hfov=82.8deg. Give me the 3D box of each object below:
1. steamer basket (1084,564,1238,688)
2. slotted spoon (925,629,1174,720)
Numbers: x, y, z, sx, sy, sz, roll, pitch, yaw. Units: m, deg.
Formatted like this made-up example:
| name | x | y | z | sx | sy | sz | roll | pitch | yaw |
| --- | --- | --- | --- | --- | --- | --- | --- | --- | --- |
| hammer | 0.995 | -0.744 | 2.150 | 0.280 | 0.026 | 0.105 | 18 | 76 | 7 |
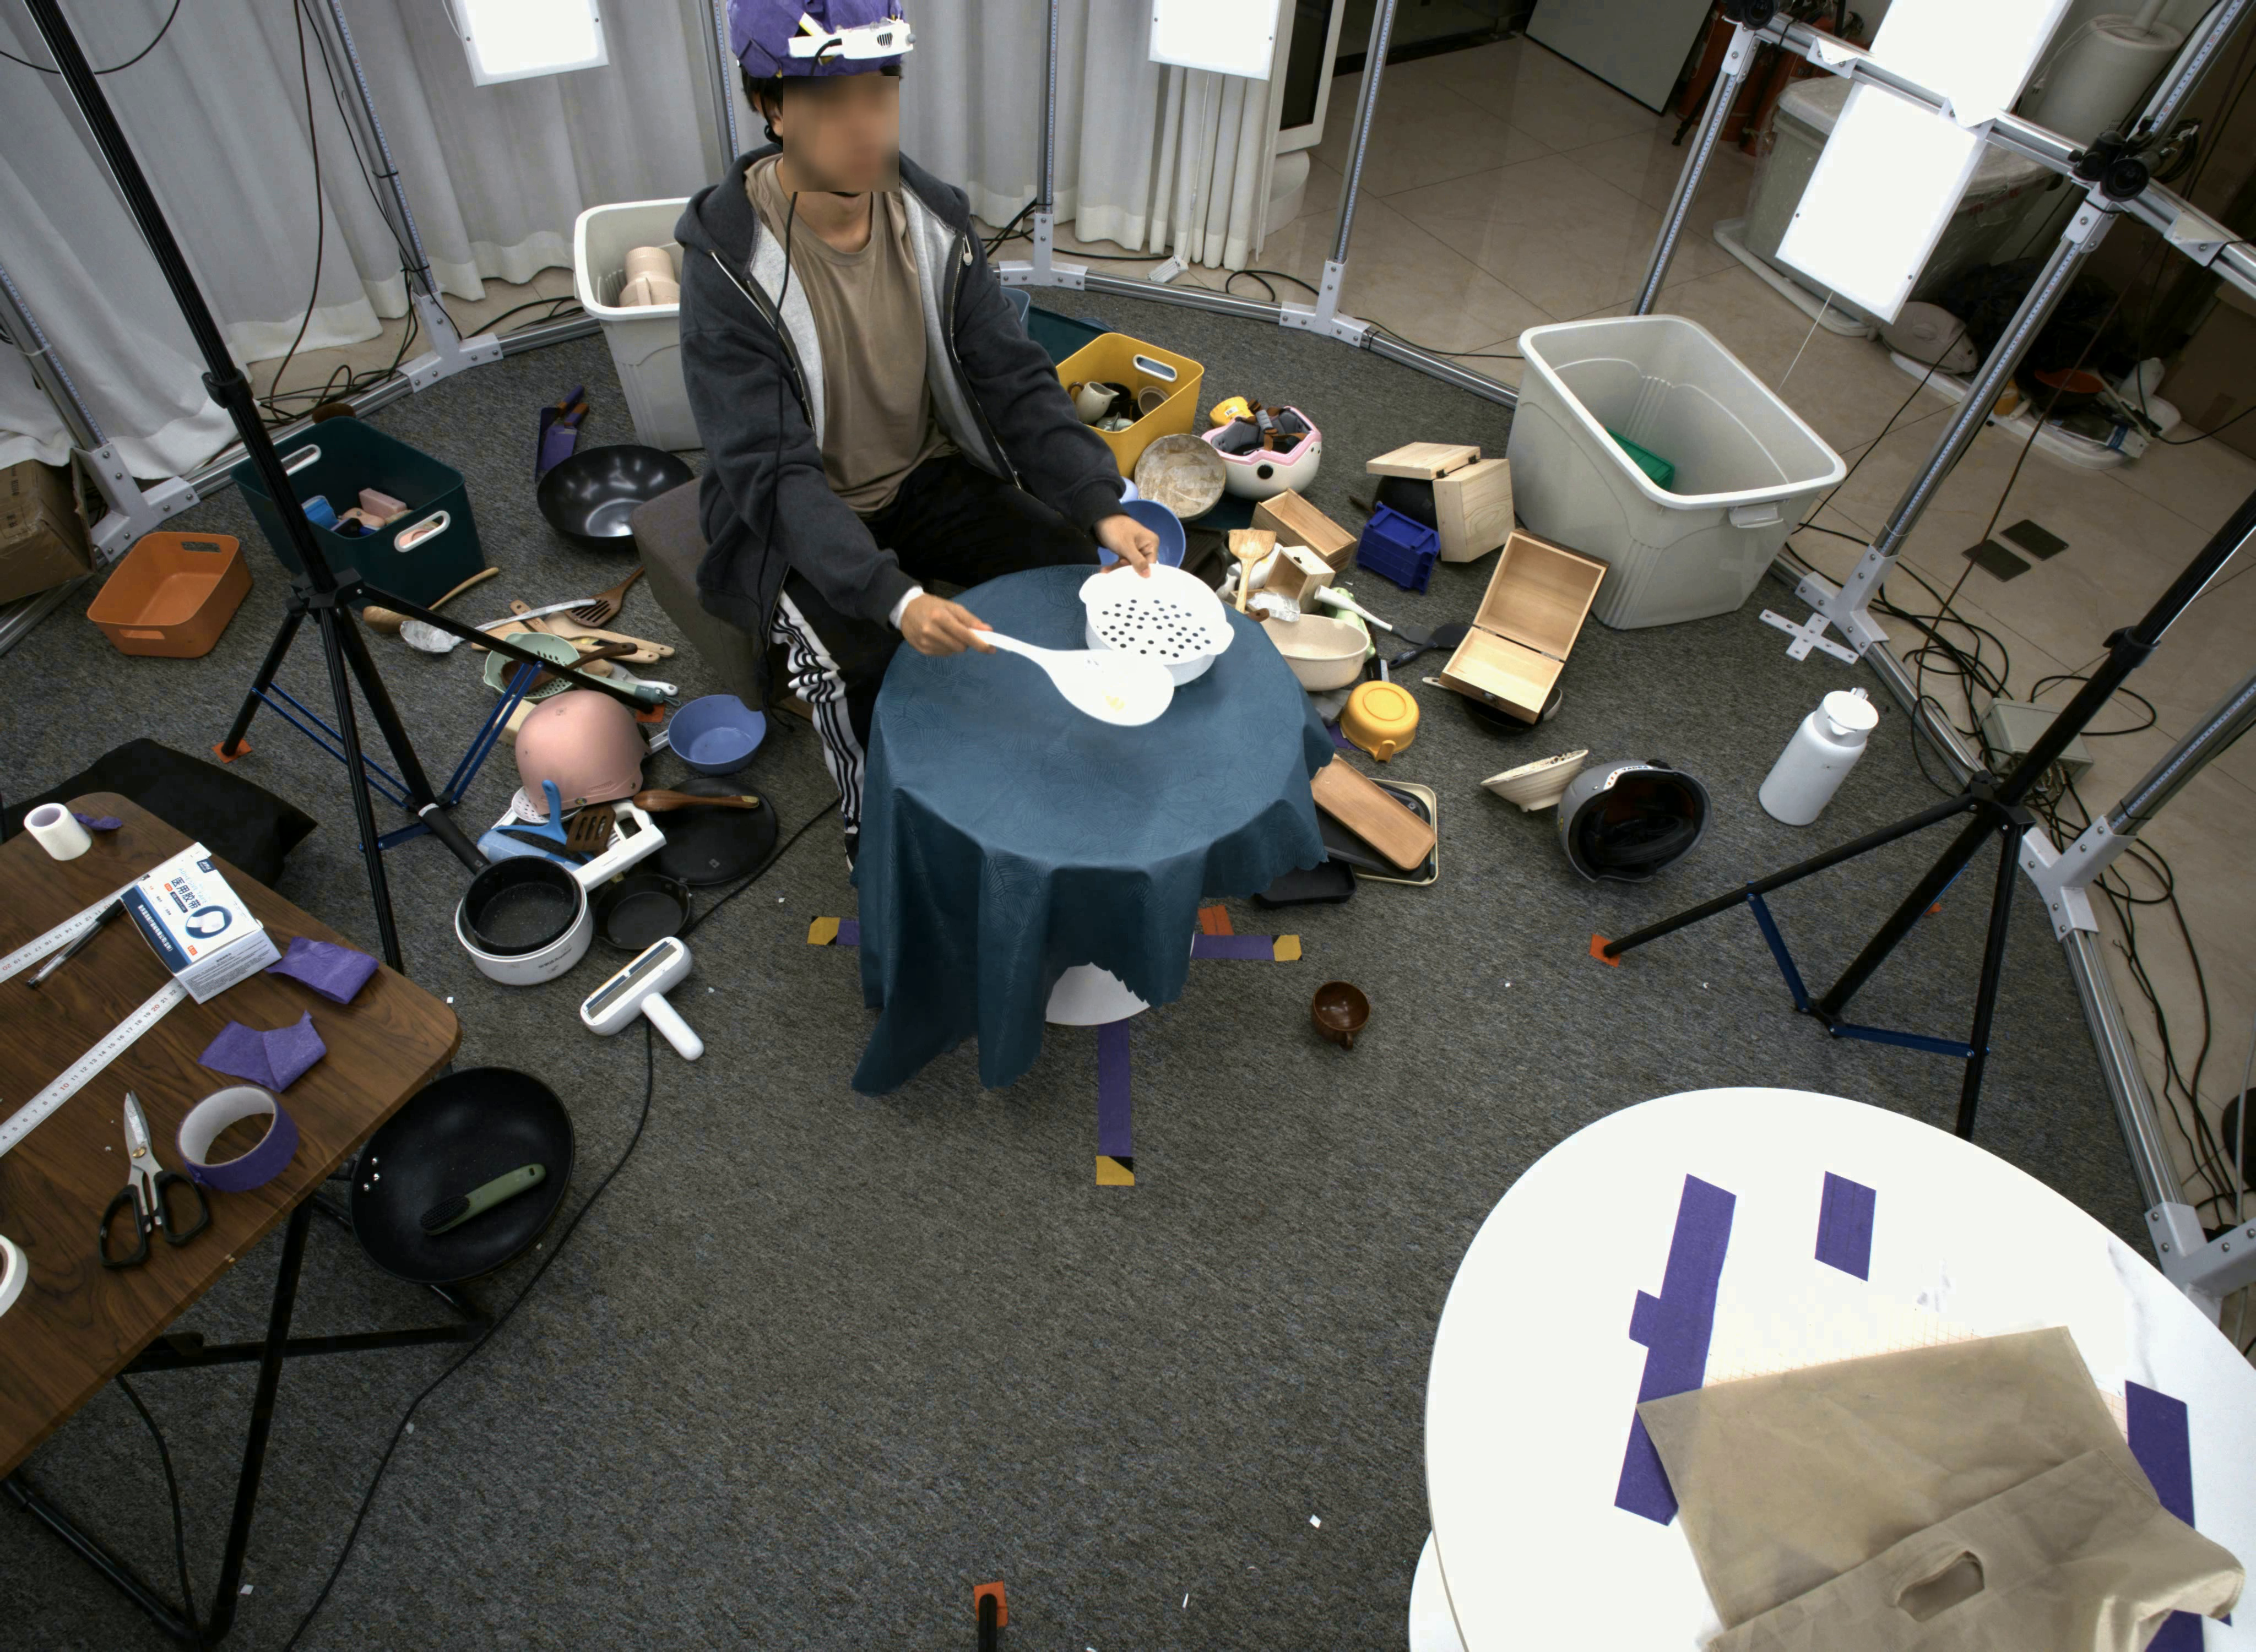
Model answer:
| name | x | y | z | sx | sy | sz | roll | pitch | yaw |
| --- | --- | --- | --- | --- | --- | --- | --- | --- | --- |
| steamer basket | 0.043 | -0.287 | 1.855 | 0.231 | 0.067 | 0.205 | 25 | 52 | 8 |
| slotted spoon | -0.108 | -0.218 | 1.701 | 0.349 | 0.049 | 0.139 | 22 | 51 | 11 |
